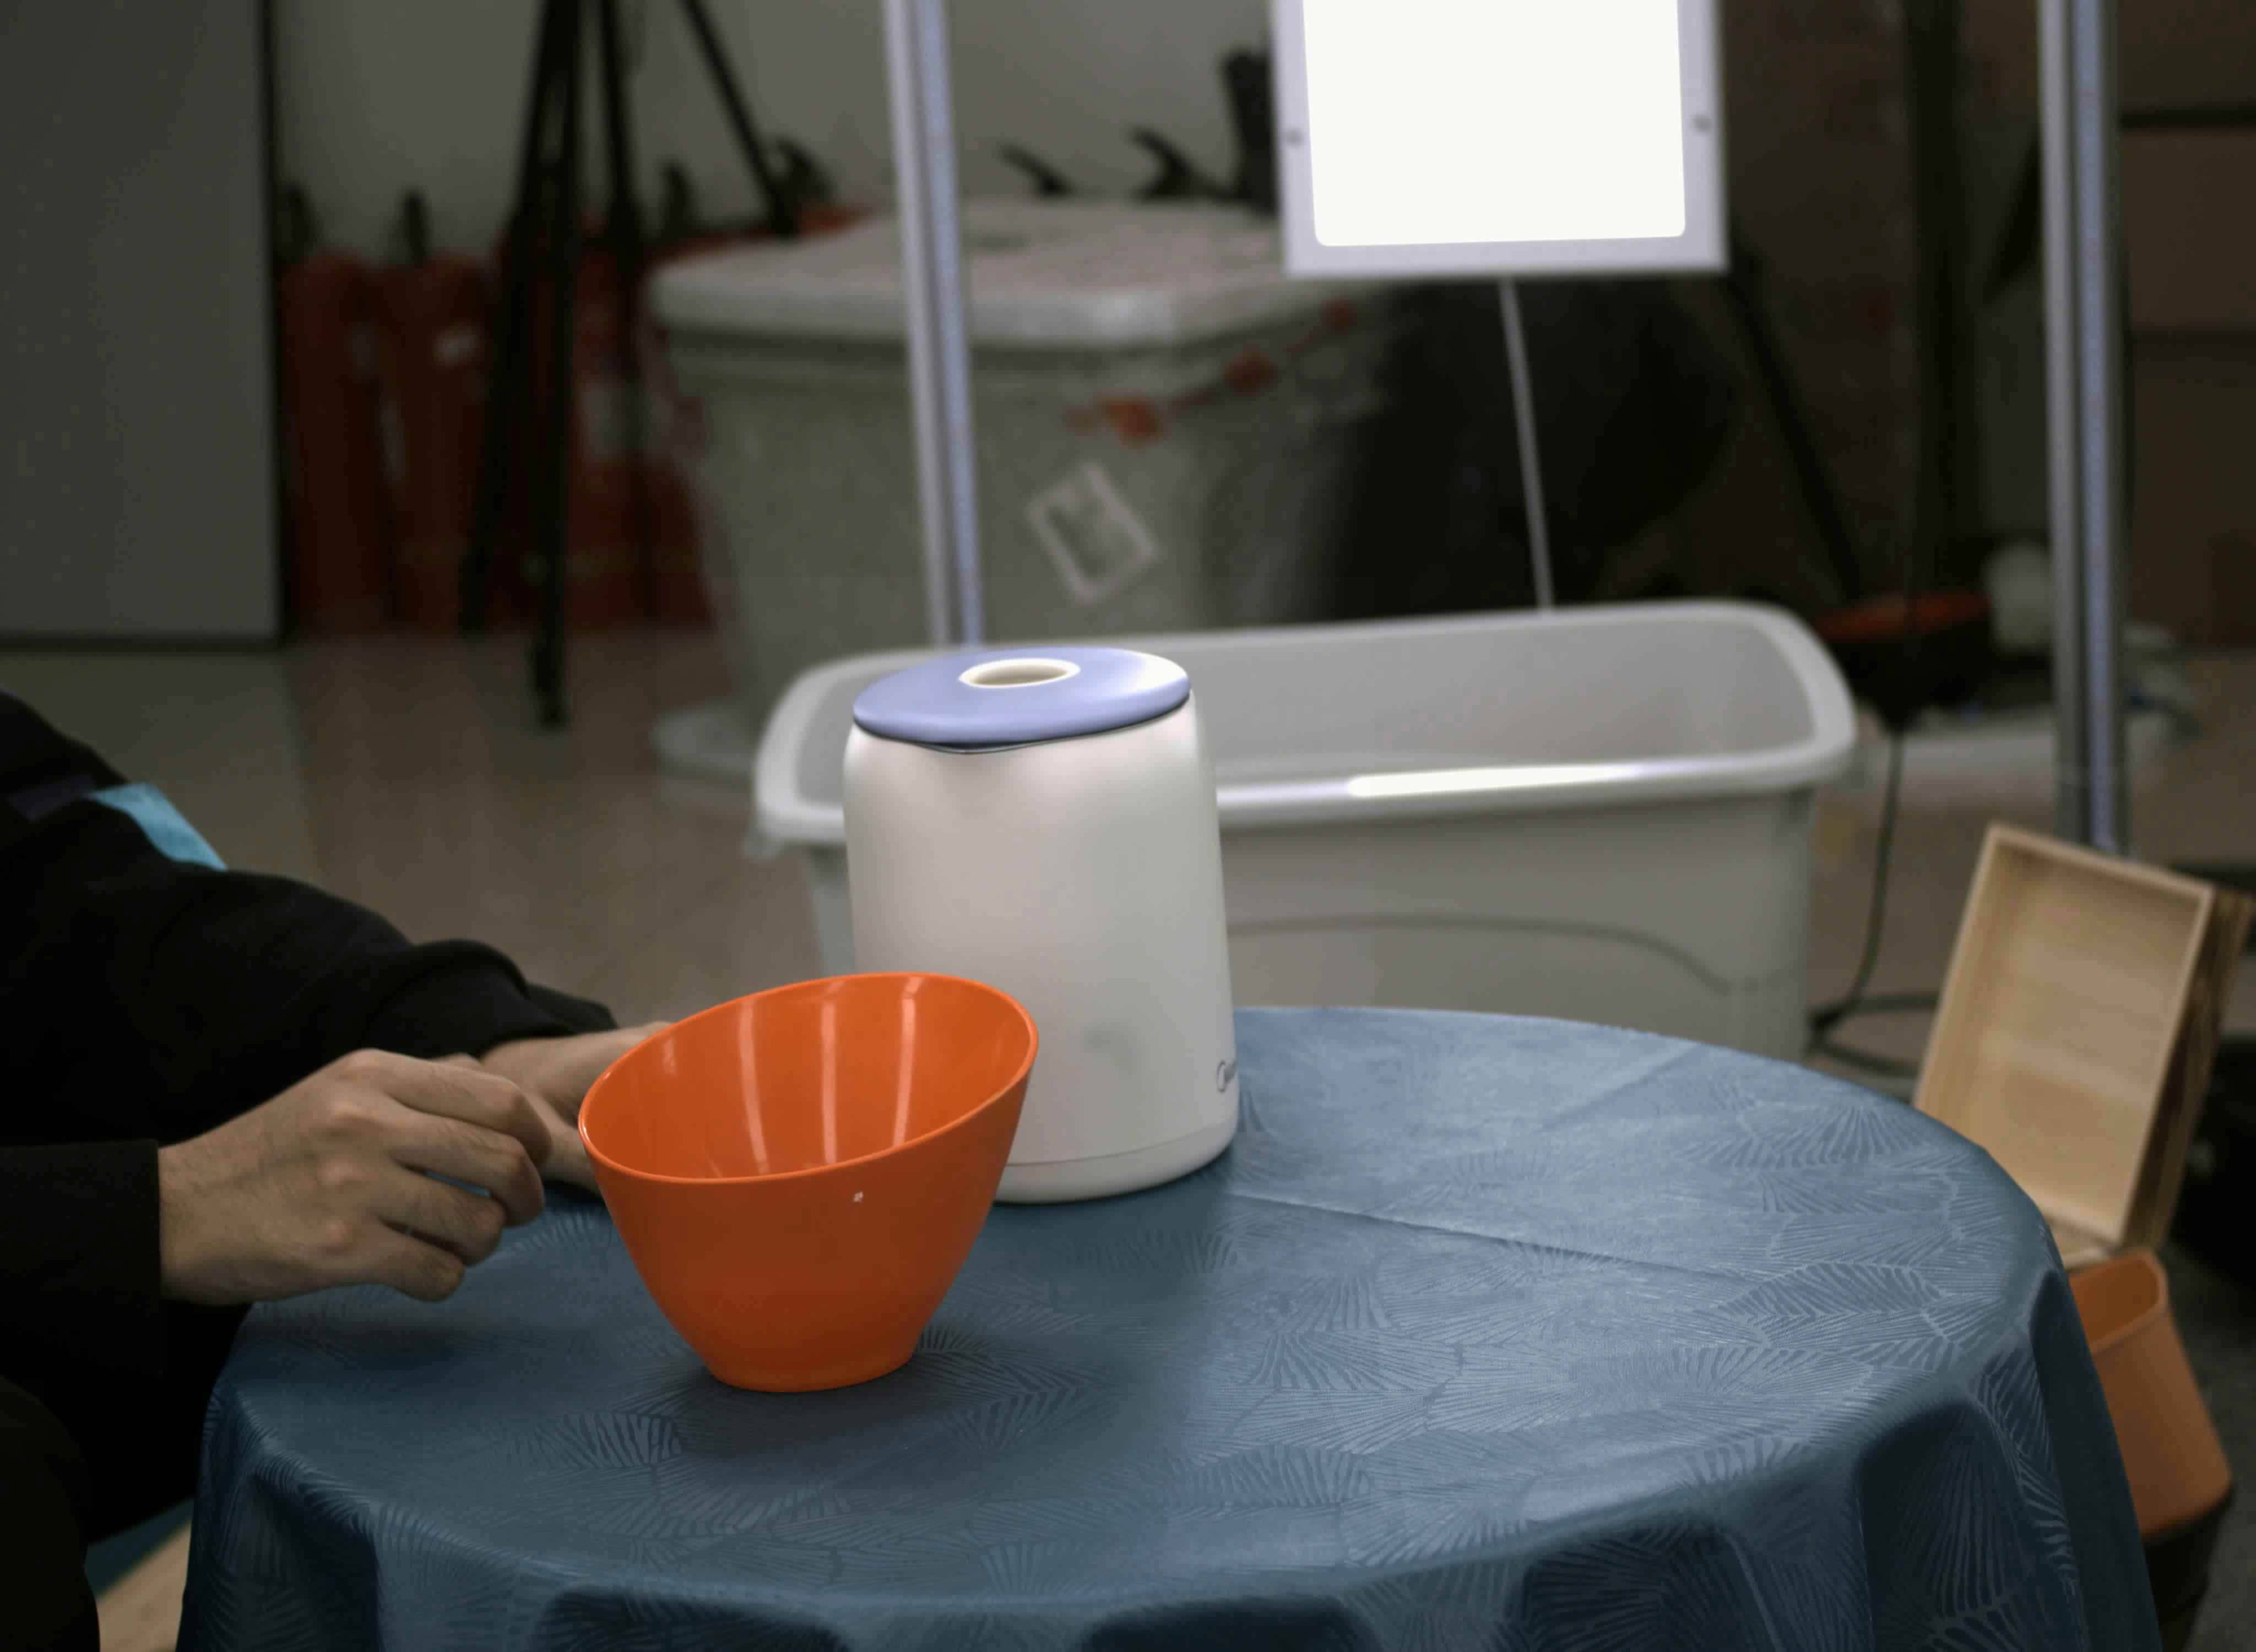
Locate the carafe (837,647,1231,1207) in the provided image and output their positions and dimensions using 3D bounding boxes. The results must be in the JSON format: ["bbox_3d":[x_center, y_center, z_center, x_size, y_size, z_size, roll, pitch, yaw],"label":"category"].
[{"bbox_3d":[-0.027,0.029,1.946,0.133,0.183,0.188,0,12,14],"label":"carafe"}]

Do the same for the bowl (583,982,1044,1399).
[{"bbox_3d":[-0.097,0.119,1.750,0.147,0.105,0.148,-5,14,0],"label":"bowl"}]
